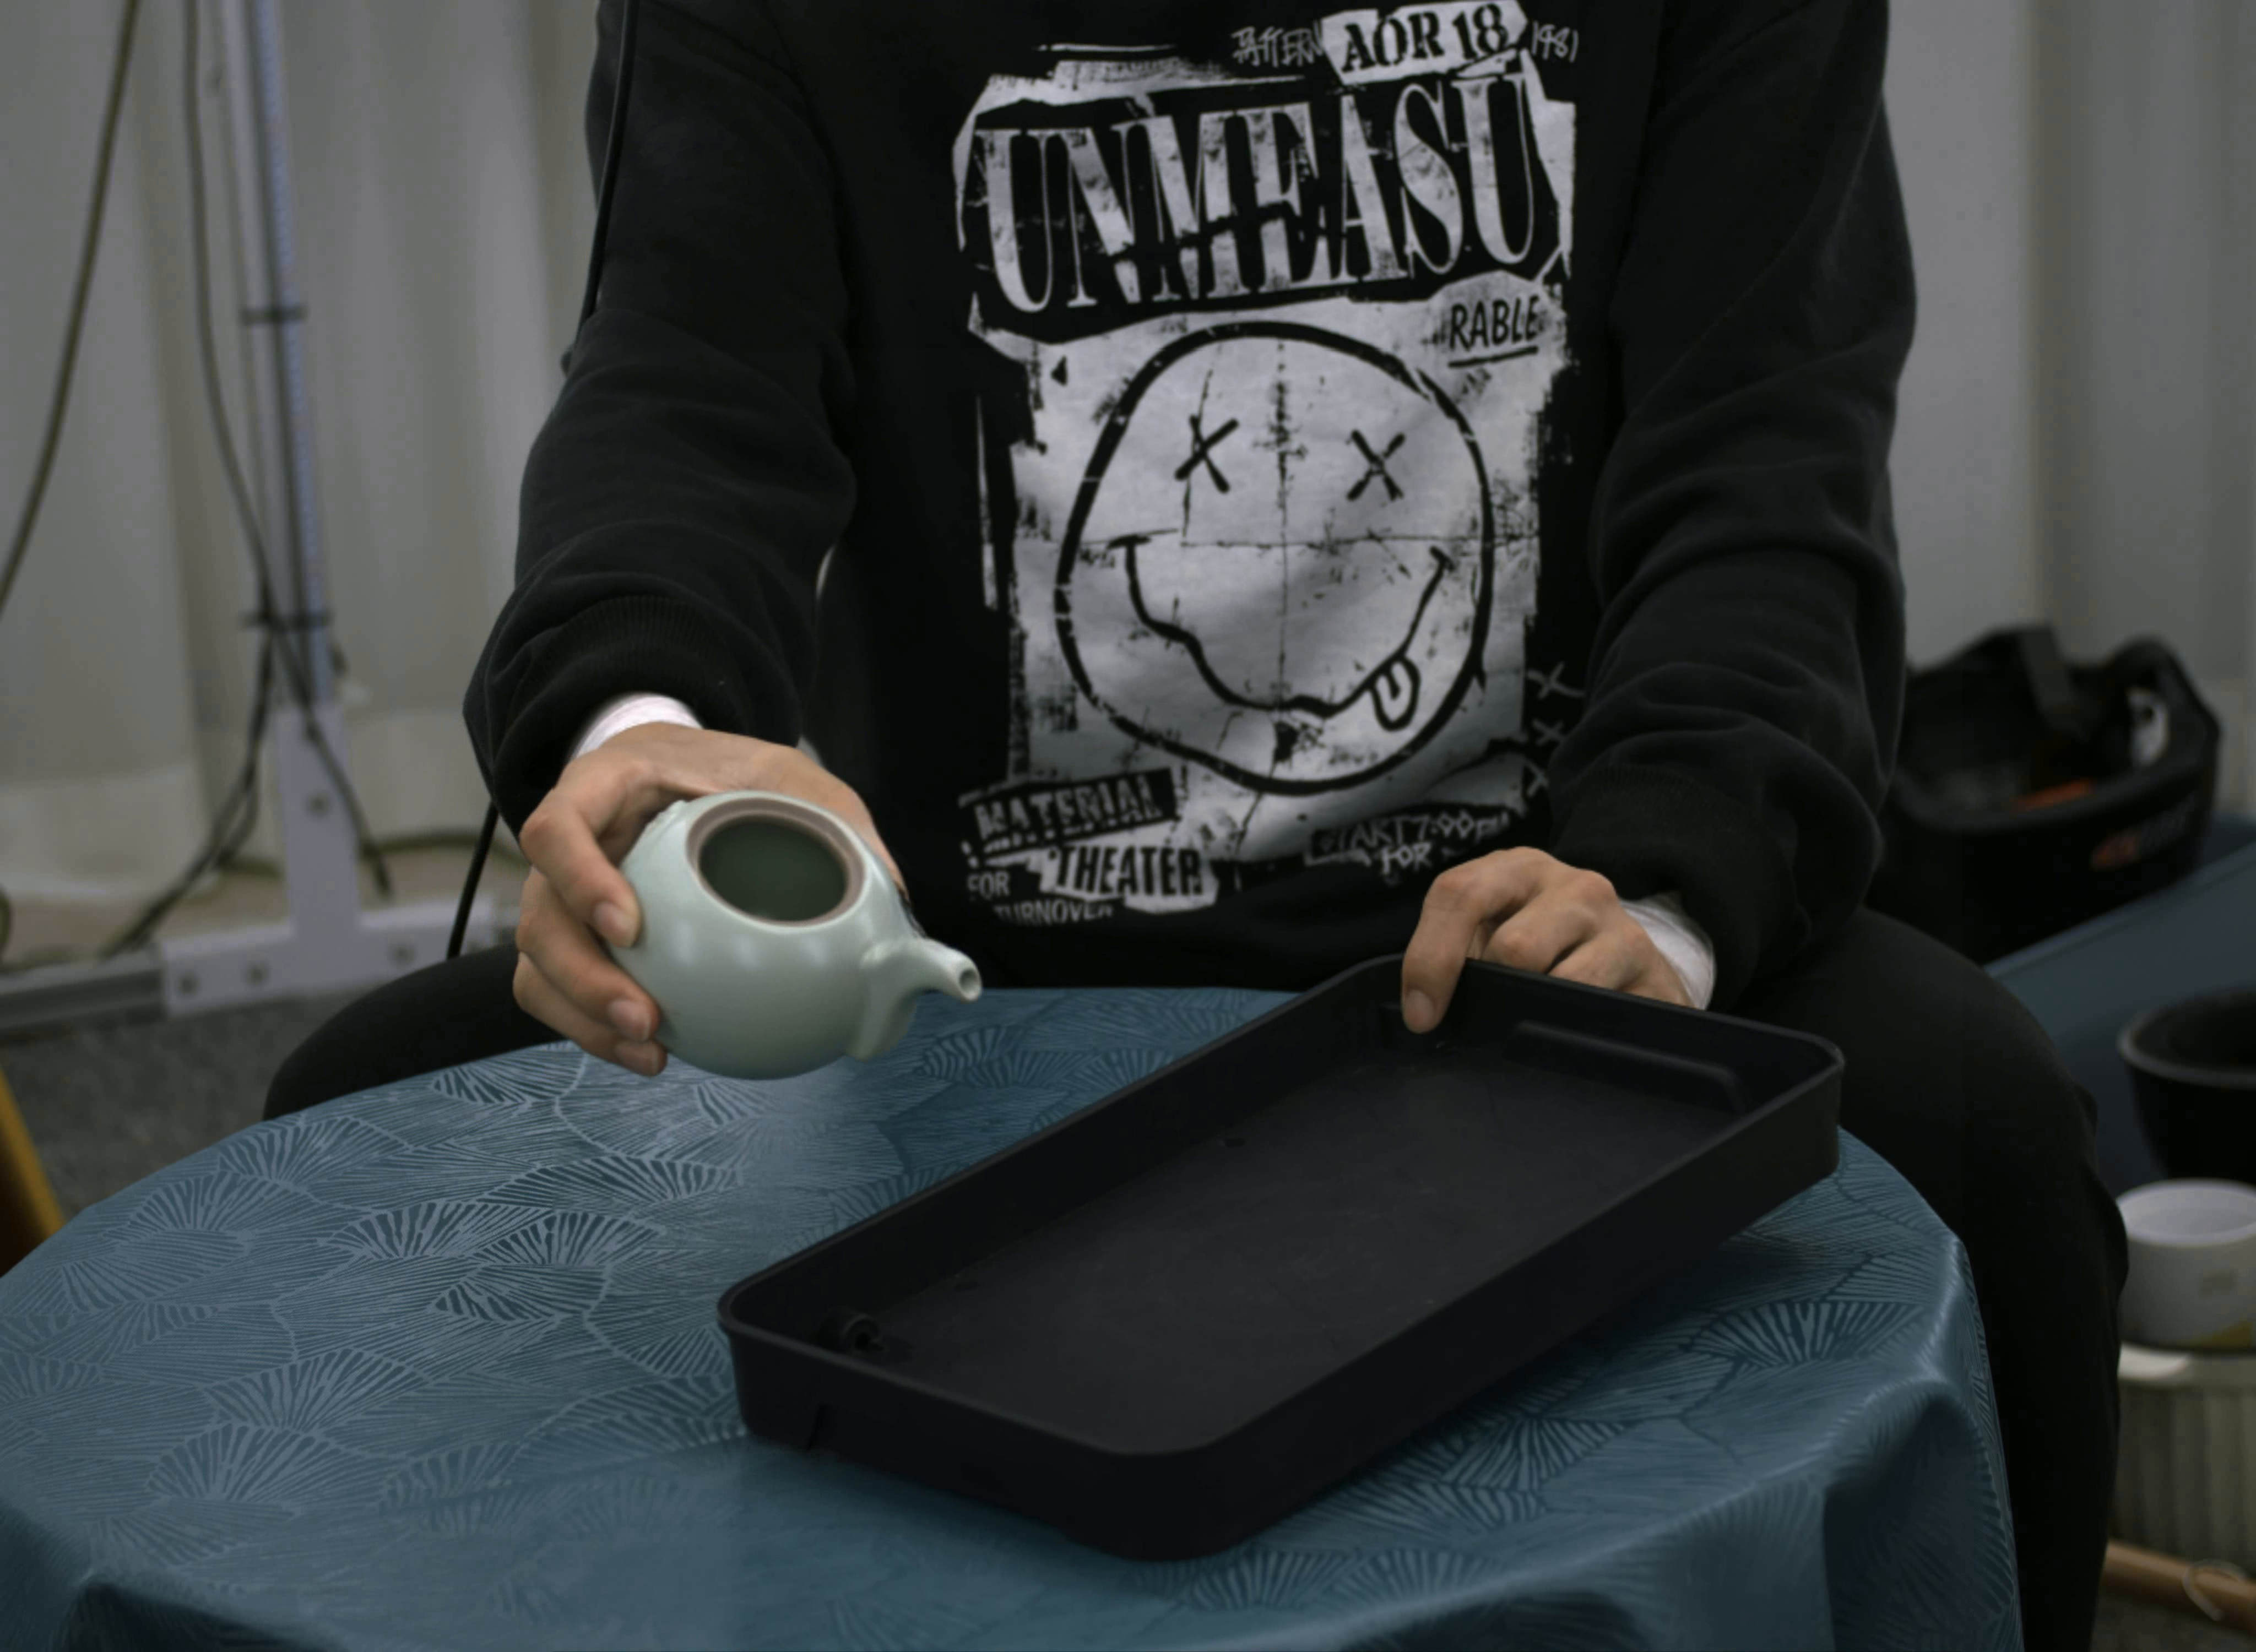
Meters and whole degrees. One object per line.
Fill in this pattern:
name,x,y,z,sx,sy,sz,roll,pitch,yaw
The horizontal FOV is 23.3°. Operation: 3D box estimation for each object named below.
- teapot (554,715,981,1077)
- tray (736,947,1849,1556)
teapot,-0.109,0.030,1.590,0.144,0.074,0.089,35,42,15
tray,0.054,0.114,1.574,0.185,0.037,0.318,11,25,39
